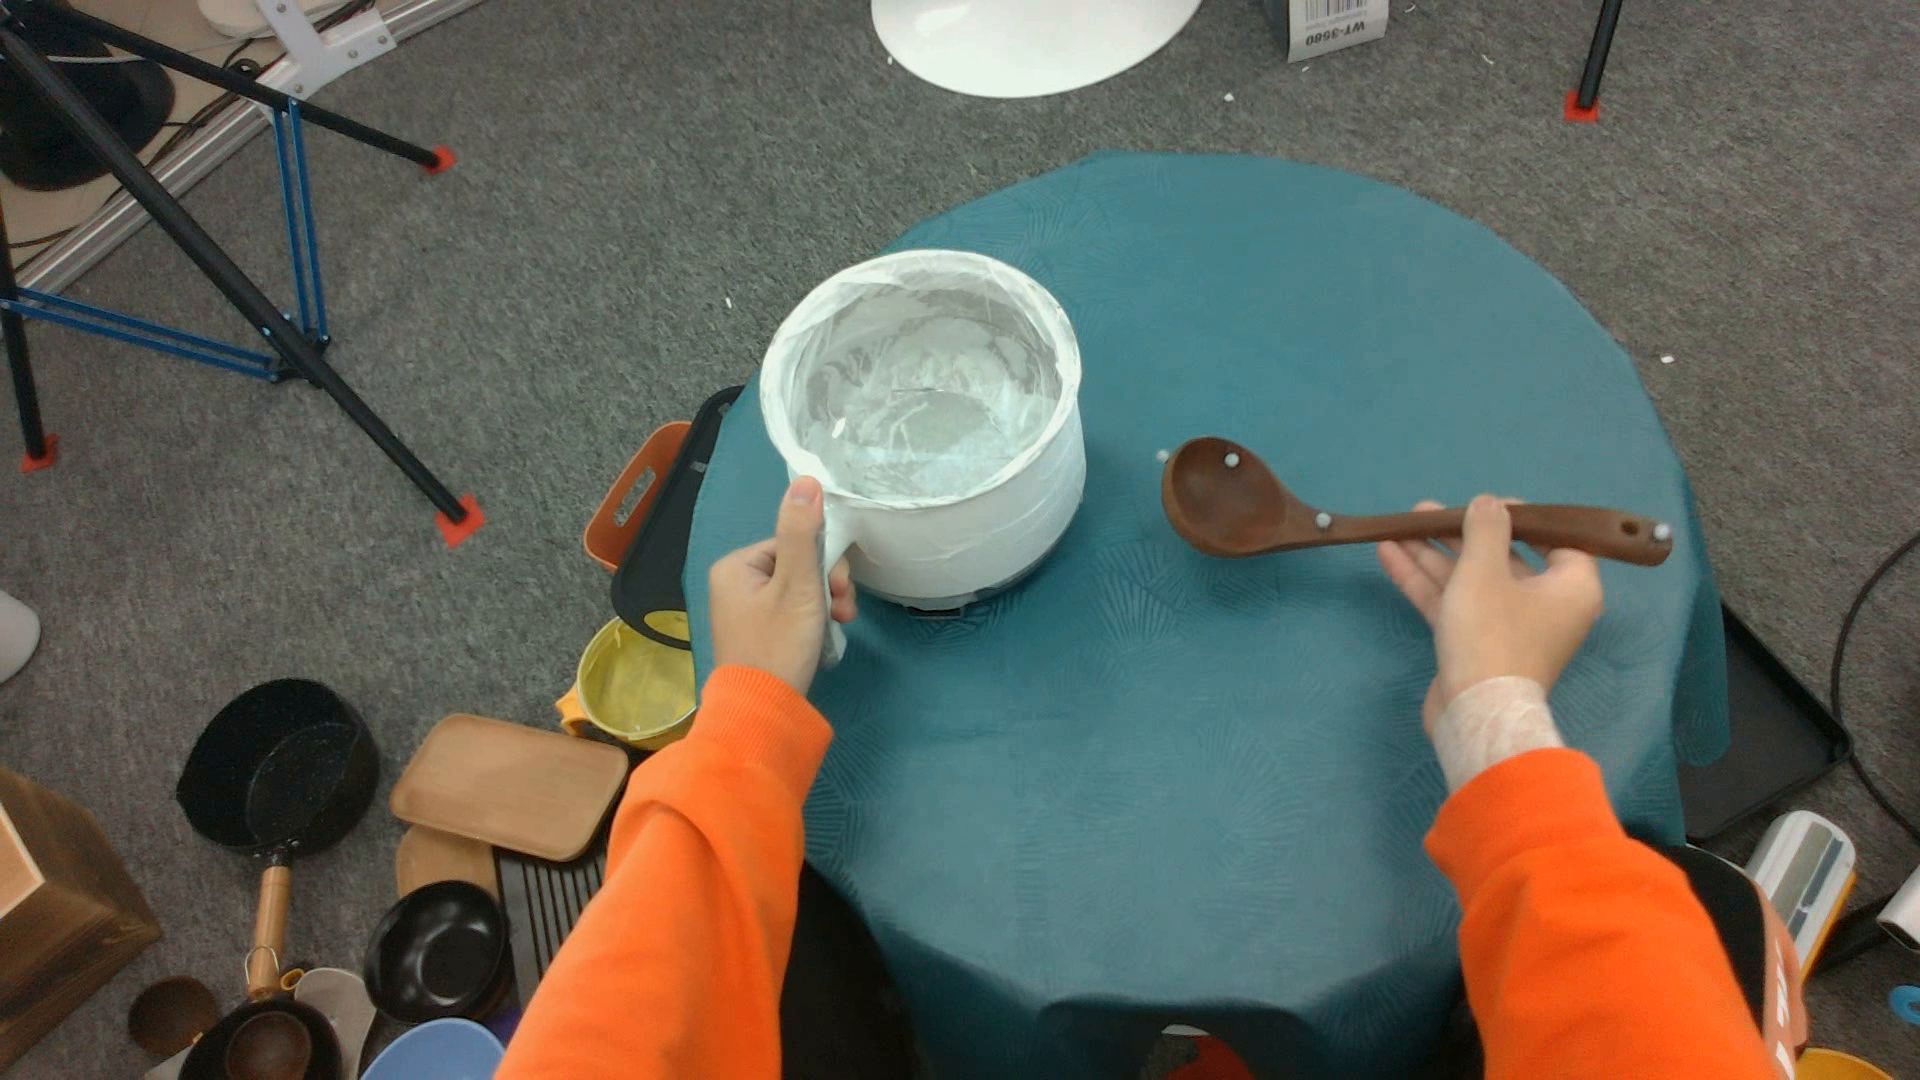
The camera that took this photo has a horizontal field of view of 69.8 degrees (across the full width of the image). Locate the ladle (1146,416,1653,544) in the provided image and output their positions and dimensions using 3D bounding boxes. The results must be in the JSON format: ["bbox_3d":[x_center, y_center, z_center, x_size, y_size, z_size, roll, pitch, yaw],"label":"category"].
[{"bbox_3d":[0.228,-0.028,0.740,0.260,0.065,0.077,3,58,26],"label":"ladle"}]

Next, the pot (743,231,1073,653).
[{"bbox_3d":[-0.039,-0.049,0.792,0.178,0.136,0.234,24,66,21],"label":"pot"}]
